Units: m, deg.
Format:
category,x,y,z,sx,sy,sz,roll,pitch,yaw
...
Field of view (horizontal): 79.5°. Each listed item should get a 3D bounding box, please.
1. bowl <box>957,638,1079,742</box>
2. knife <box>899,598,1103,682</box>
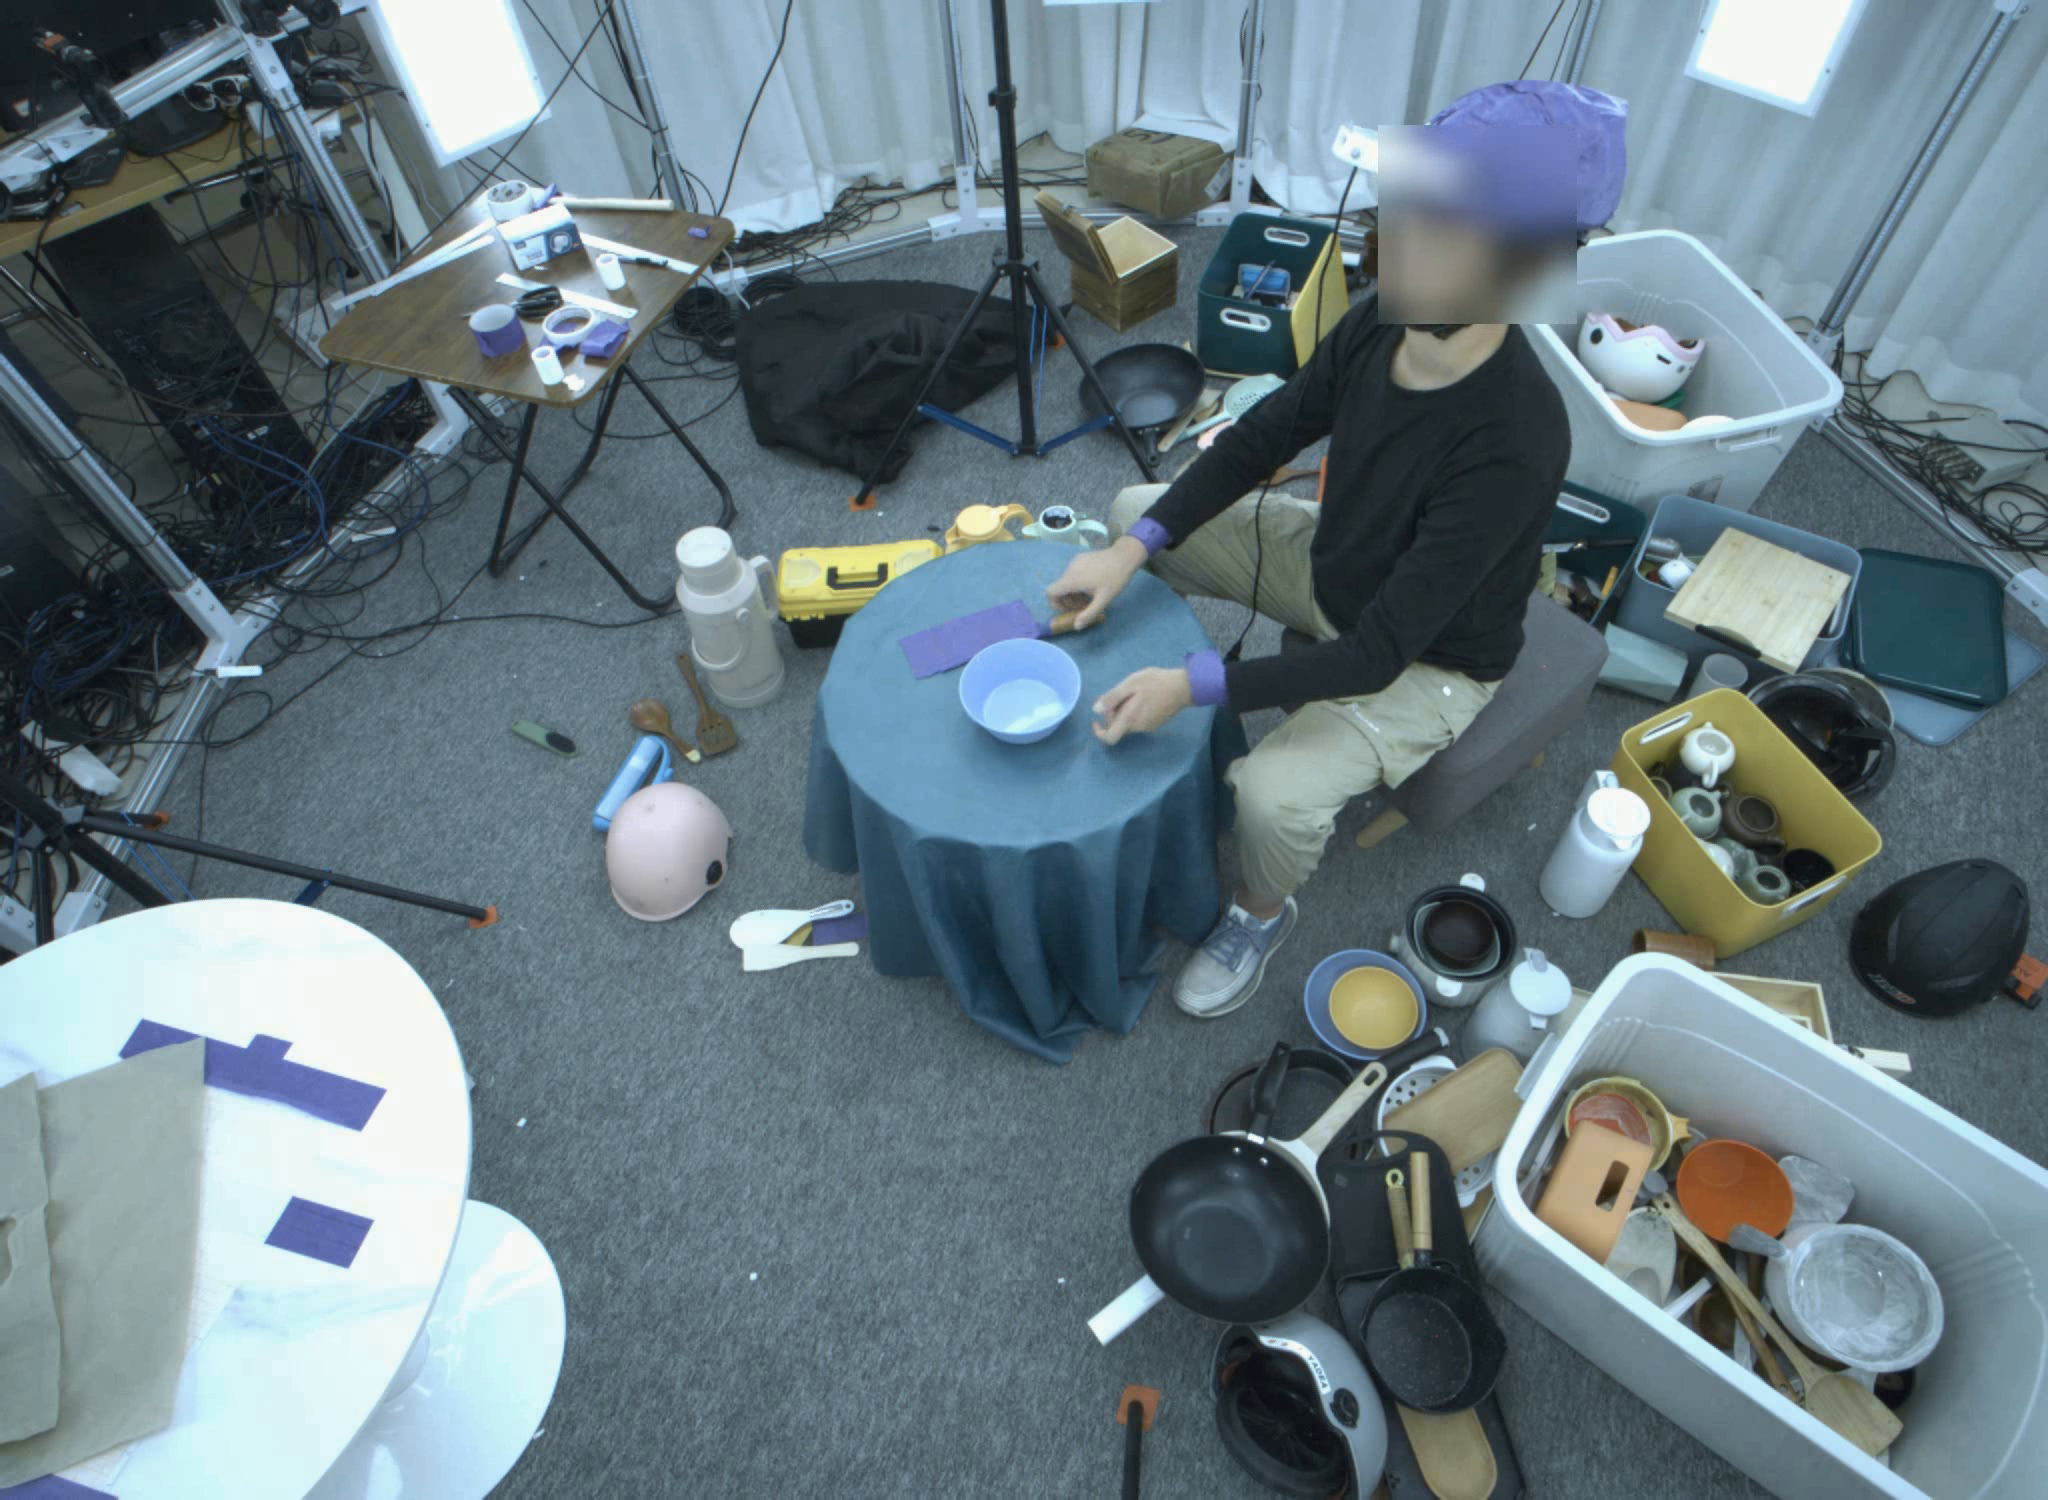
category,x,y,z,sx,sy,sz,roll,pitch,yaw
bowl,-0.008,-0.078,1.795,0.176,0.071,0.174,0,56,1
knife,-0.038,-0.193,1.906,0.317,0.032,0.102,-19,56,-10
